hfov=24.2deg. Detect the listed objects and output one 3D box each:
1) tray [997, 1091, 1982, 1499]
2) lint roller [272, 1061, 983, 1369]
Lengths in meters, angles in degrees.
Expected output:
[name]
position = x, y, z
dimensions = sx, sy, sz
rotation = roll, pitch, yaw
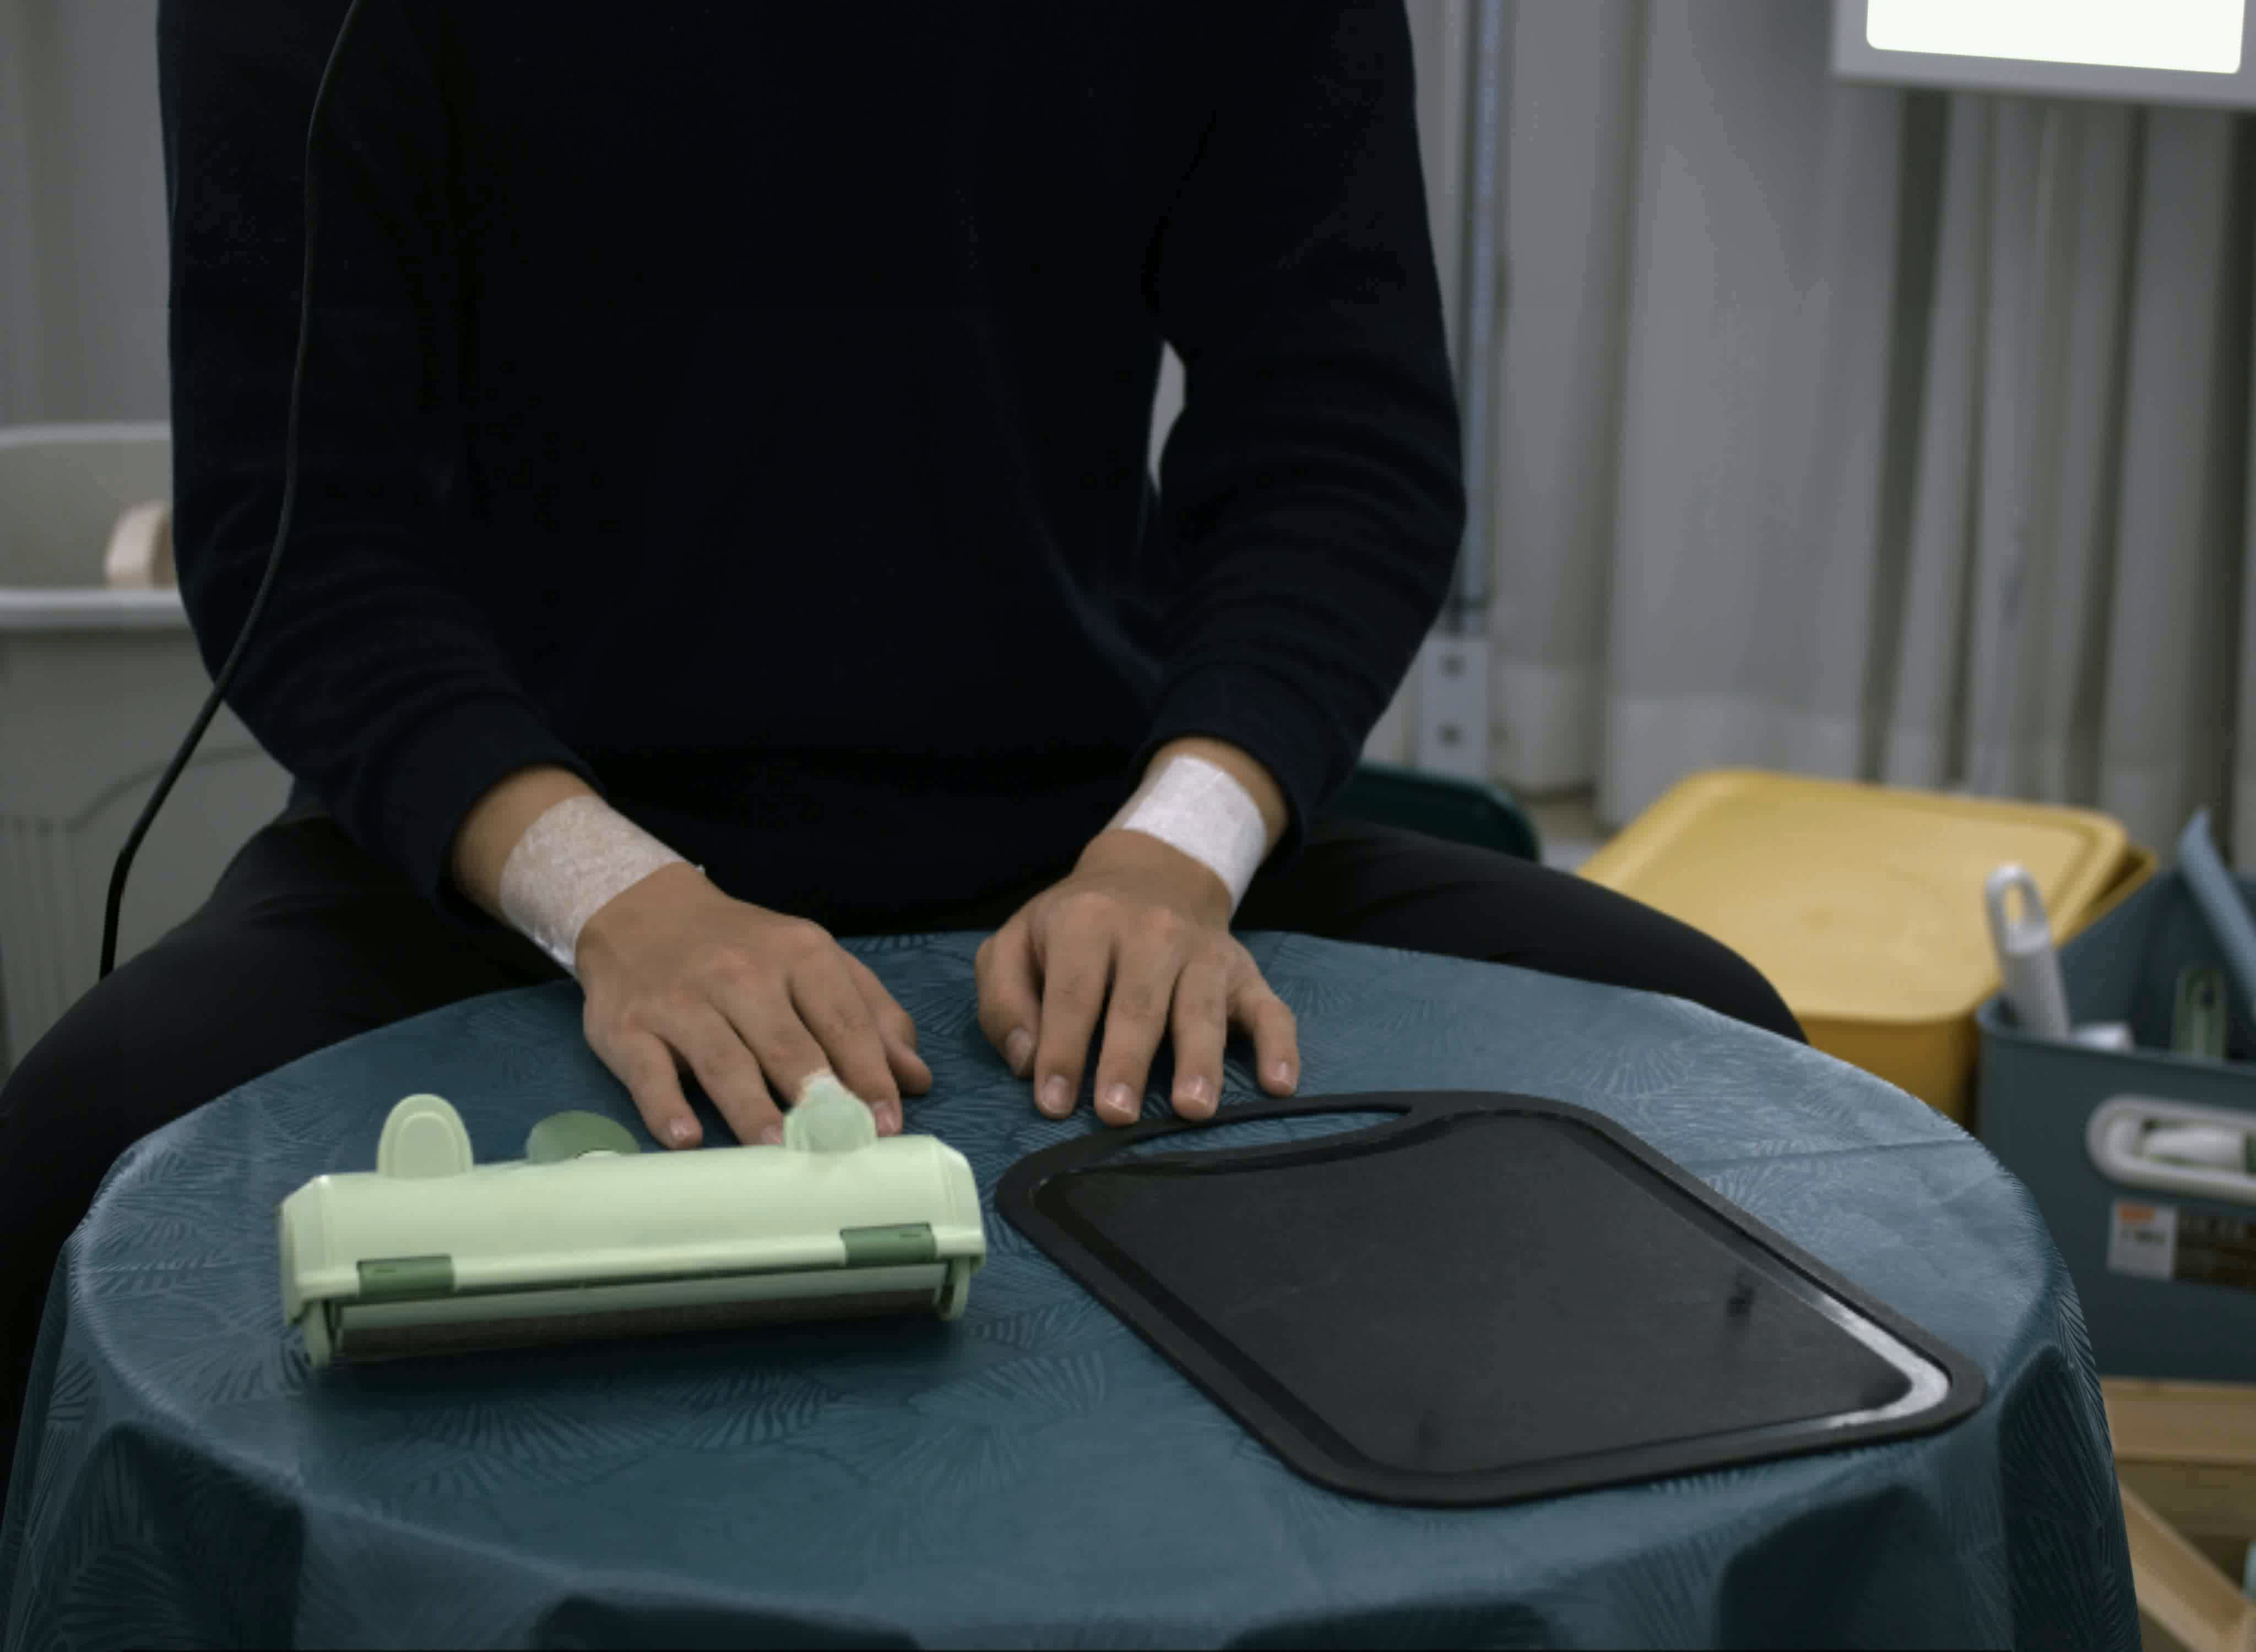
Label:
[tray]
position = 0.095, 0.129, 1.551
dimensions = 0.212, 0.010, 0.321
rotation = -6, 17, -21
[lint roller]
position = -0.154, 0.091, 1.532
dimensions = 0.199, 0.083, 0.181
rotation = -3, 23, -15
